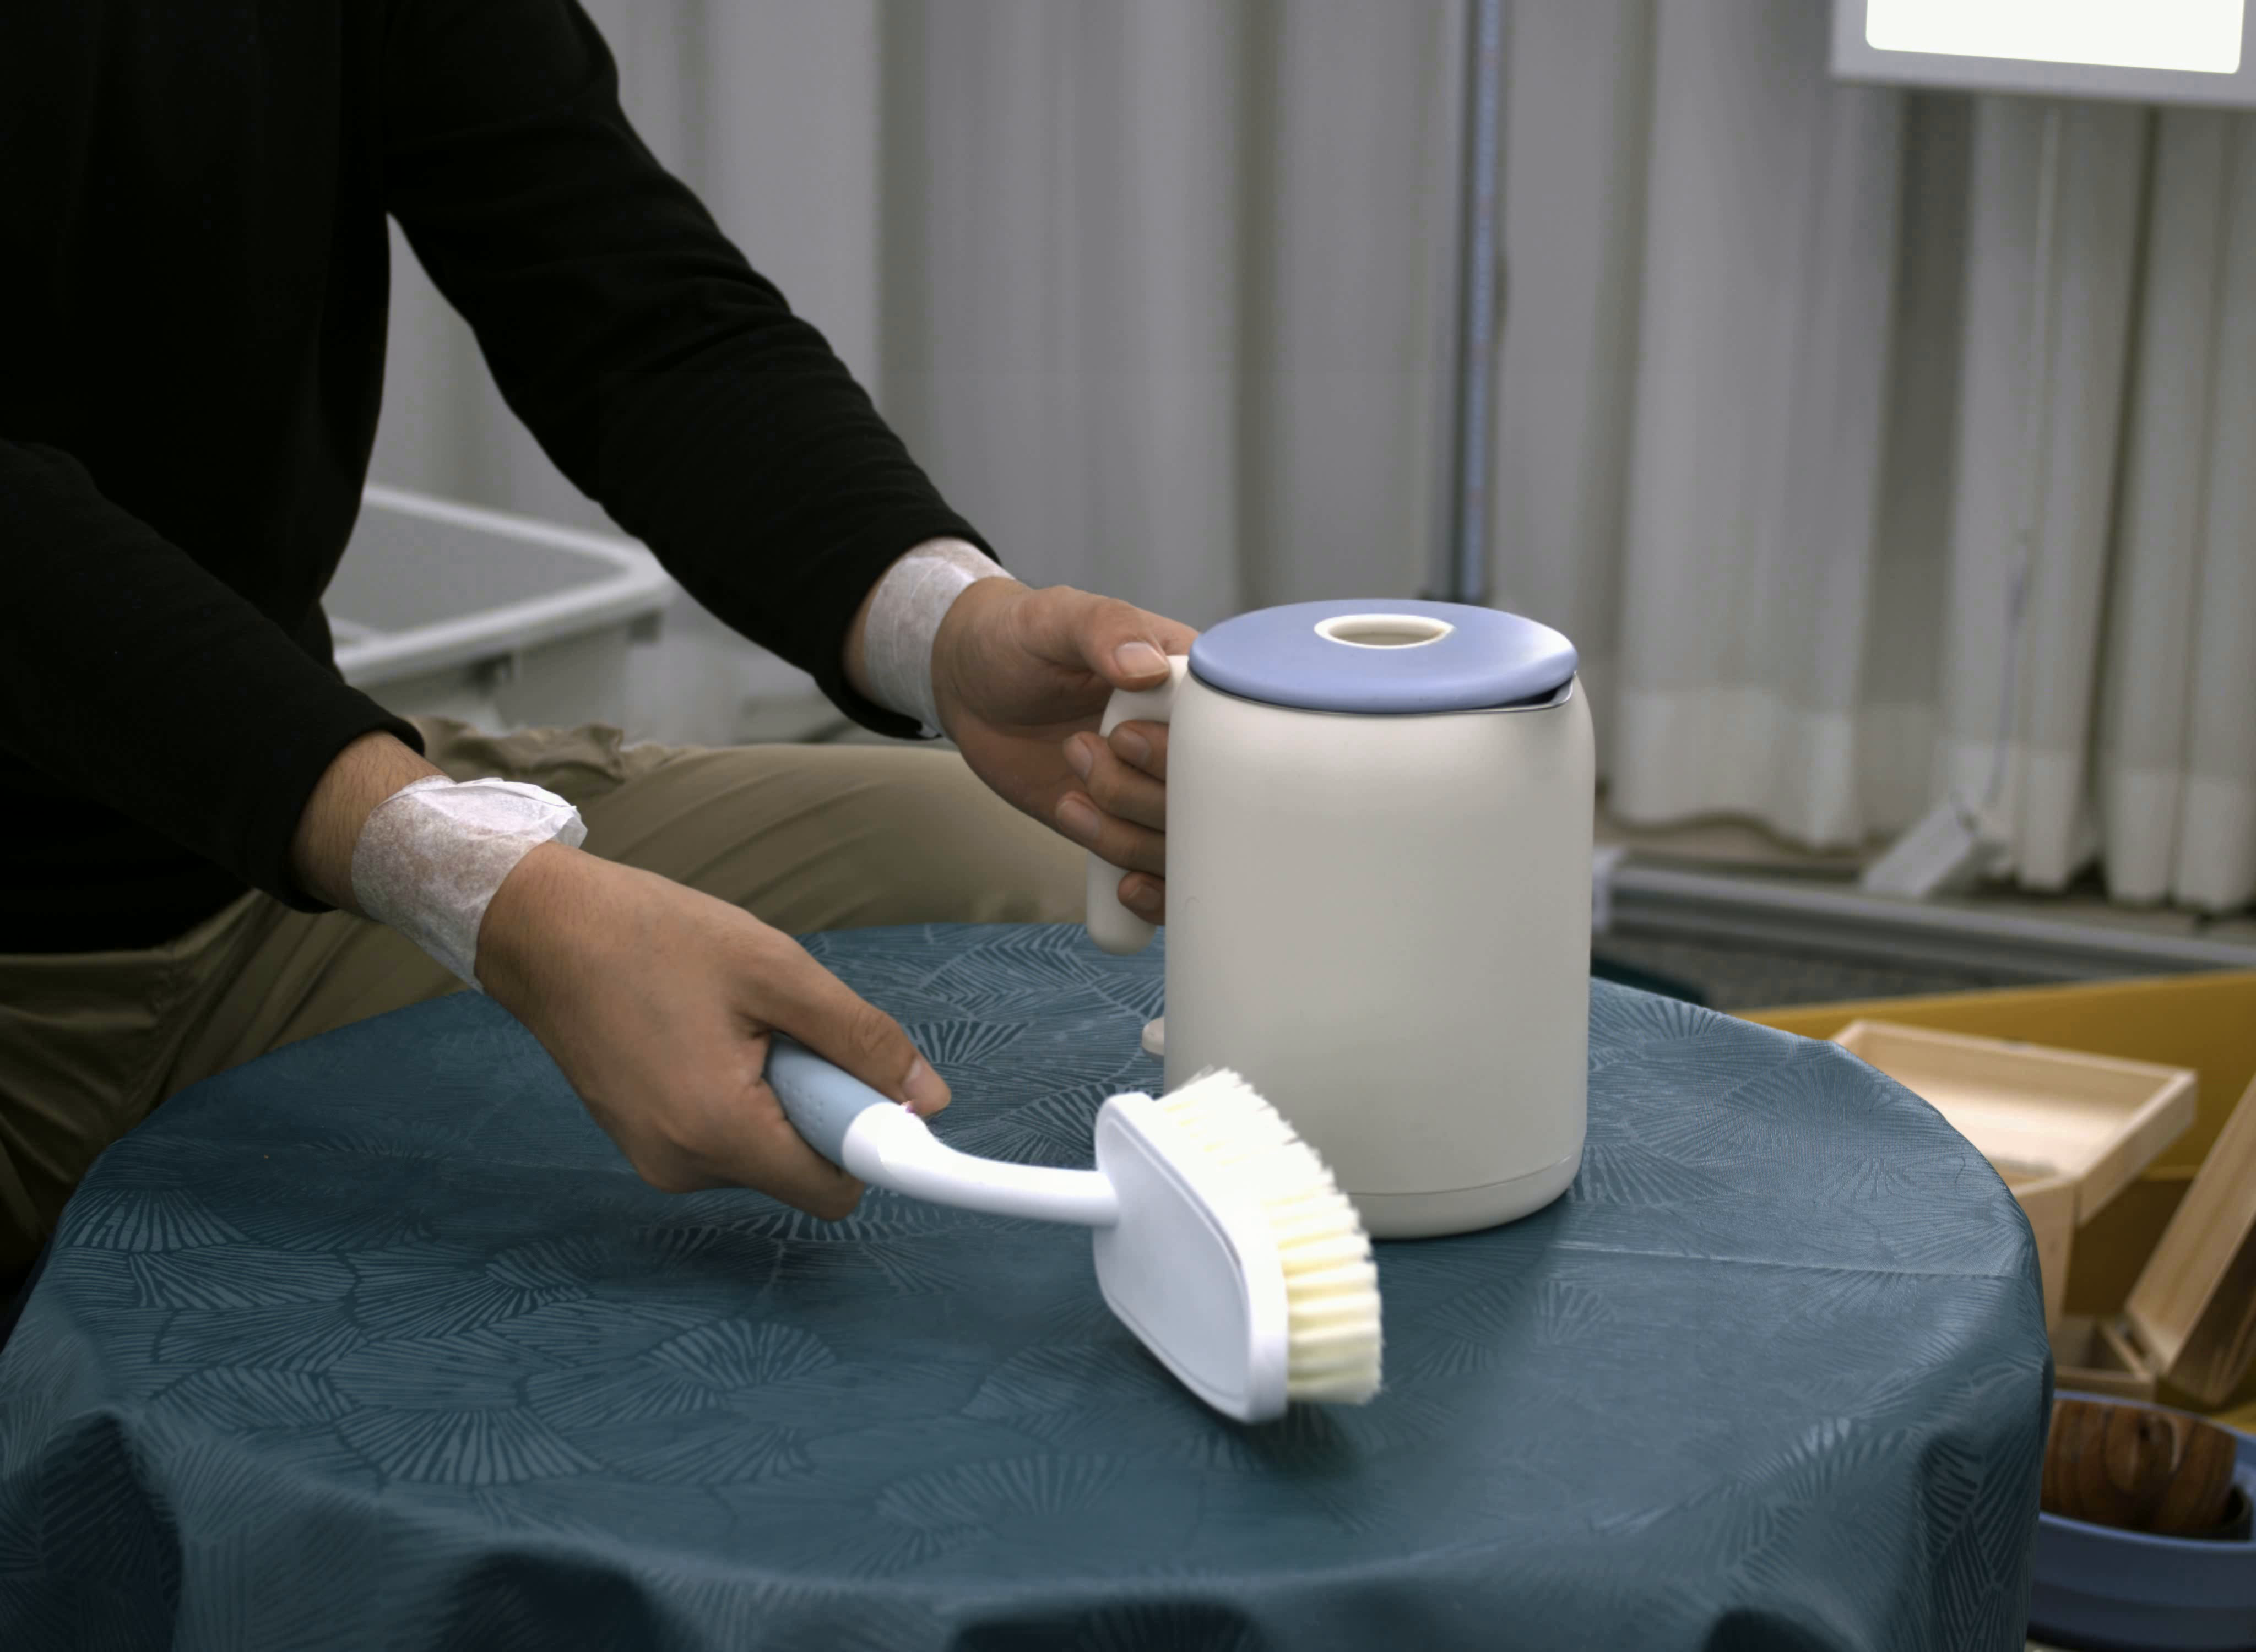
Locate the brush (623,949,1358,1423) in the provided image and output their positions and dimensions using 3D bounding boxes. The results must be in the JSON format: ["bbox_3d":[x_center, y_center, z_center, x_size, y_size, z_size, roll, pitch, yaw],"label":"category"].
[{"bbox_3d":[-0.029,0.086,1.518,0.085,0.083,0.321,32,-3,-42],"label":"brush"}]

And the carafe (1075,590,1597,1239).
[{"bbox_3d":[0.058,0.022,1.626,0.188,0.184,0.133,12,20,39],"label":"carafe"}]
